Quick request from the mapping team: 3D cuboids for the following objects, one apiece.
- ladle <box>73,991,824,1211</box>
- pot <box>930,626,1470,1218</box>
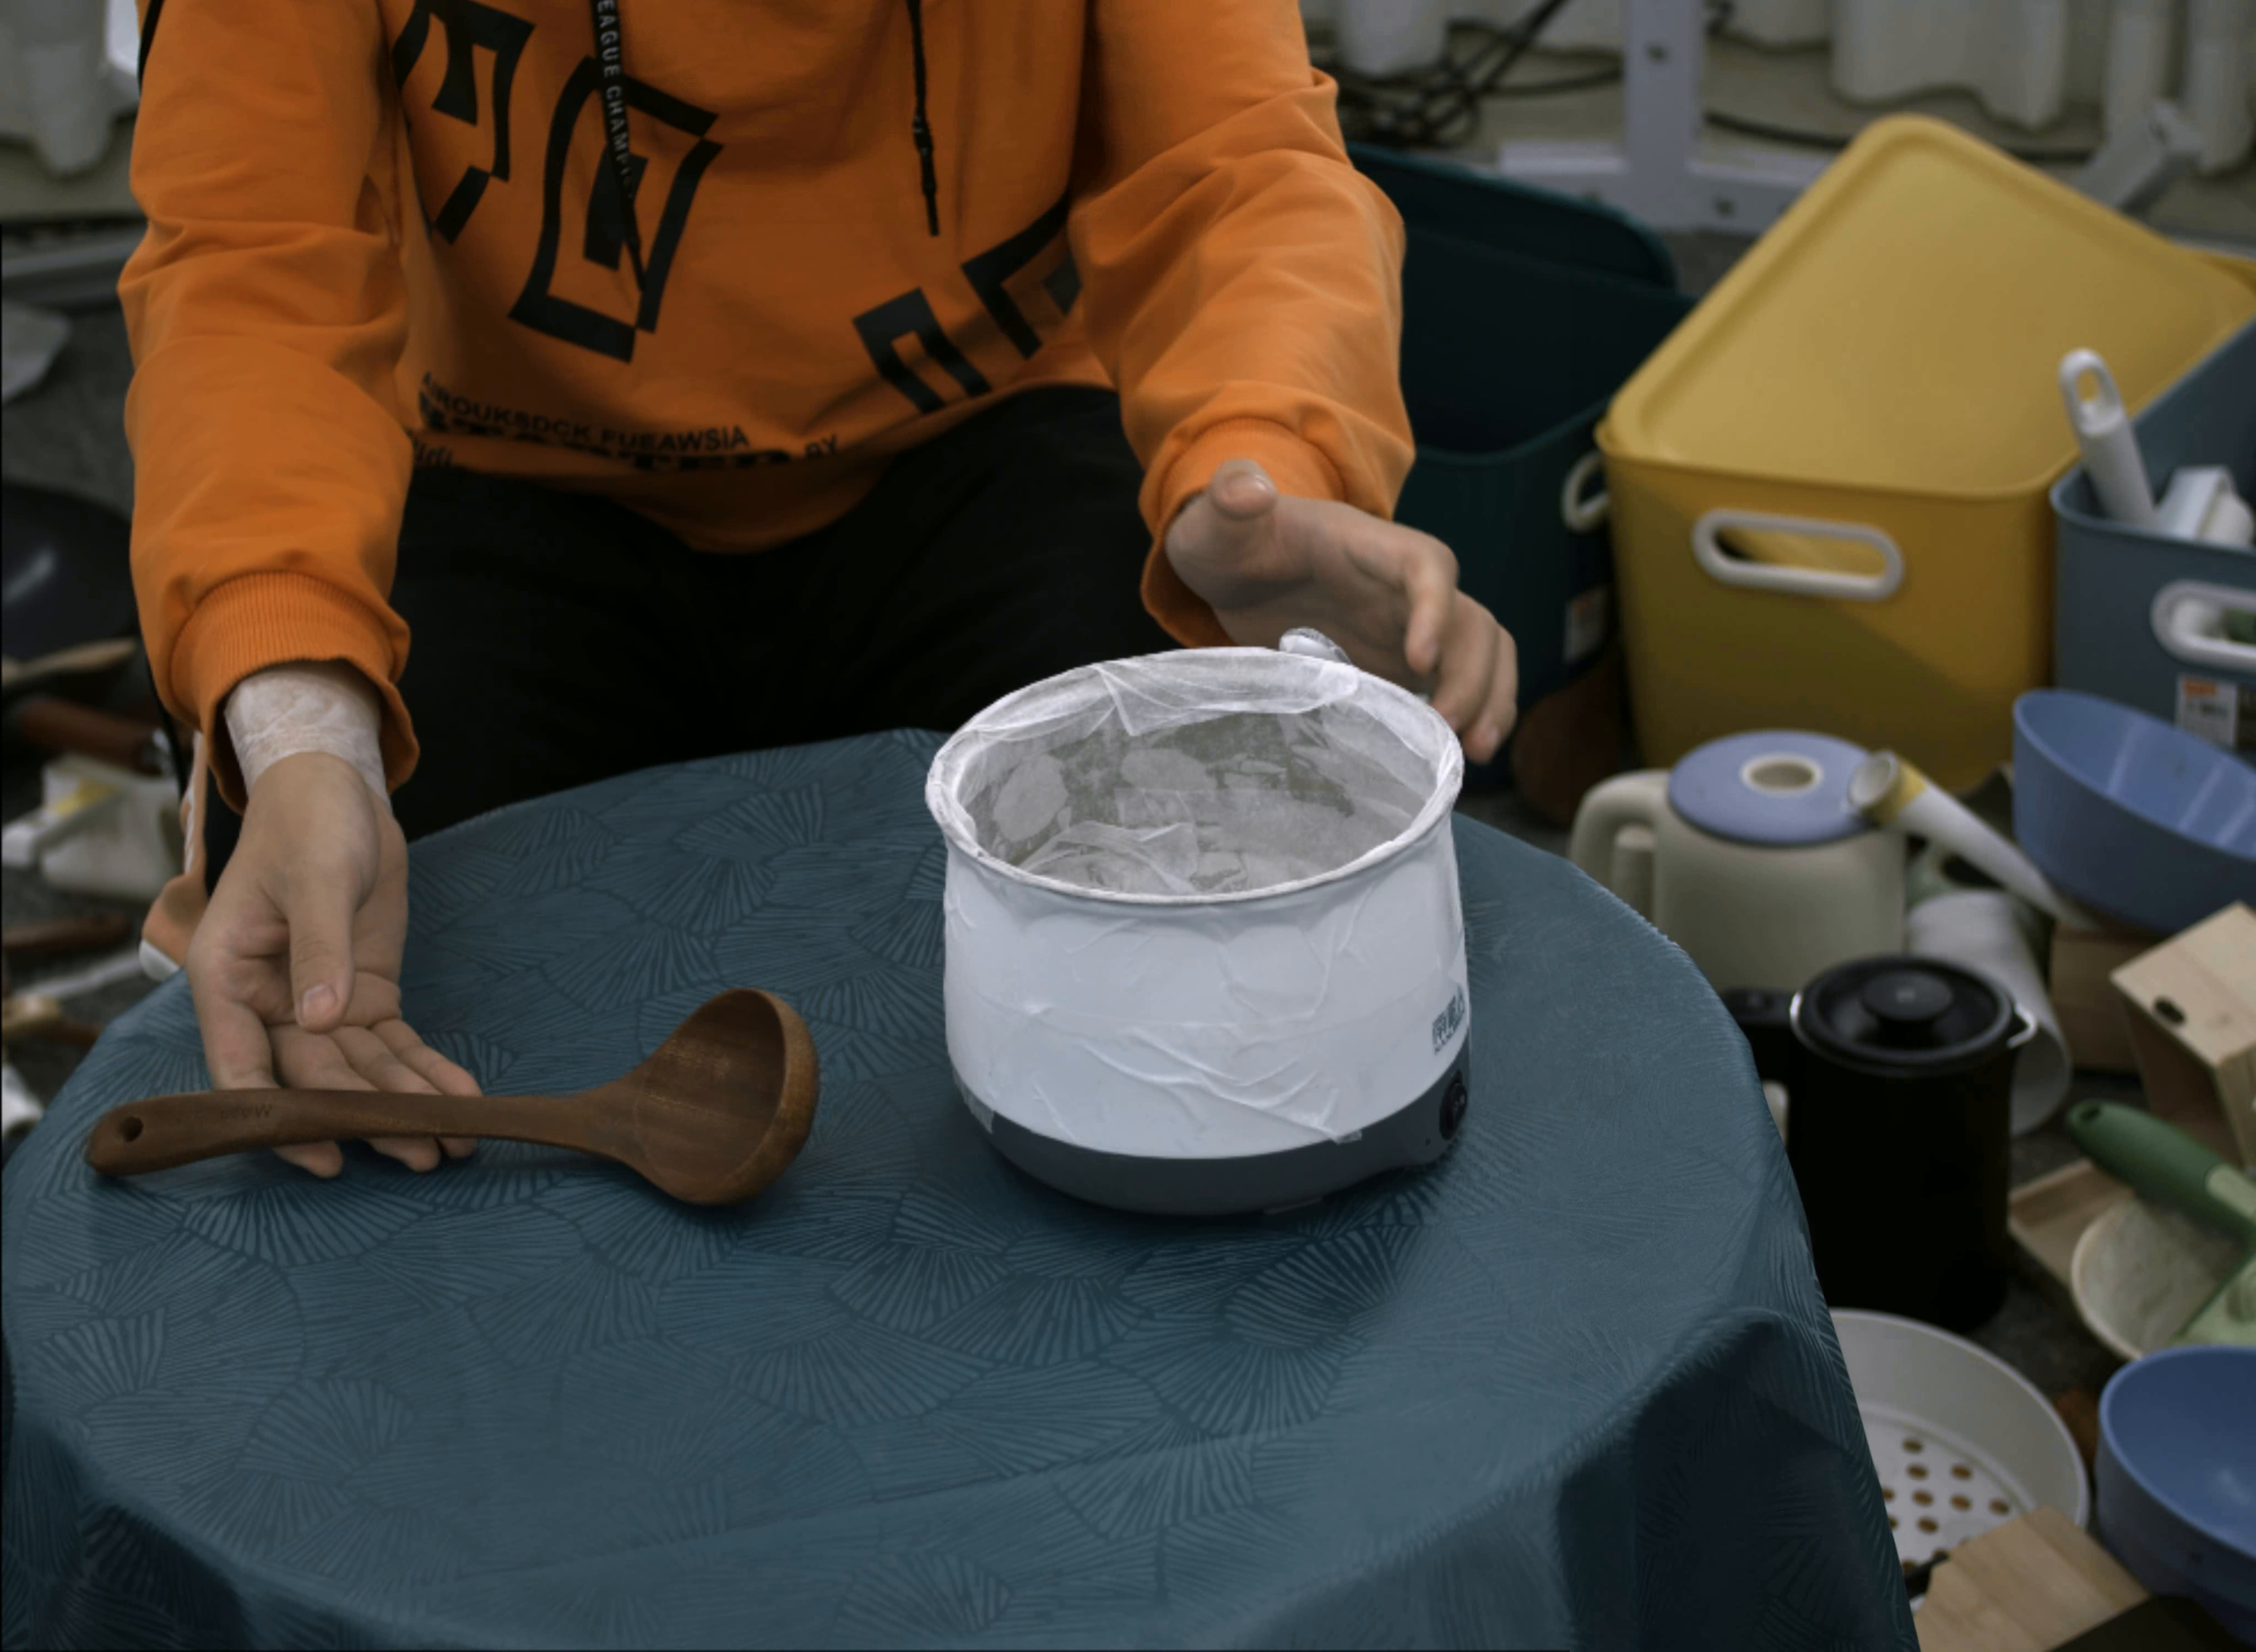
[{"bbox_3d":[-0.229,0.094,1.874,0.259,0.064,0.078,-1,55,3],"label":"ladle"},{"bbox_3d":[0.035,0.024,1.898,0.177,0.135,0.238,8,30,19],"label":"pot"}]
